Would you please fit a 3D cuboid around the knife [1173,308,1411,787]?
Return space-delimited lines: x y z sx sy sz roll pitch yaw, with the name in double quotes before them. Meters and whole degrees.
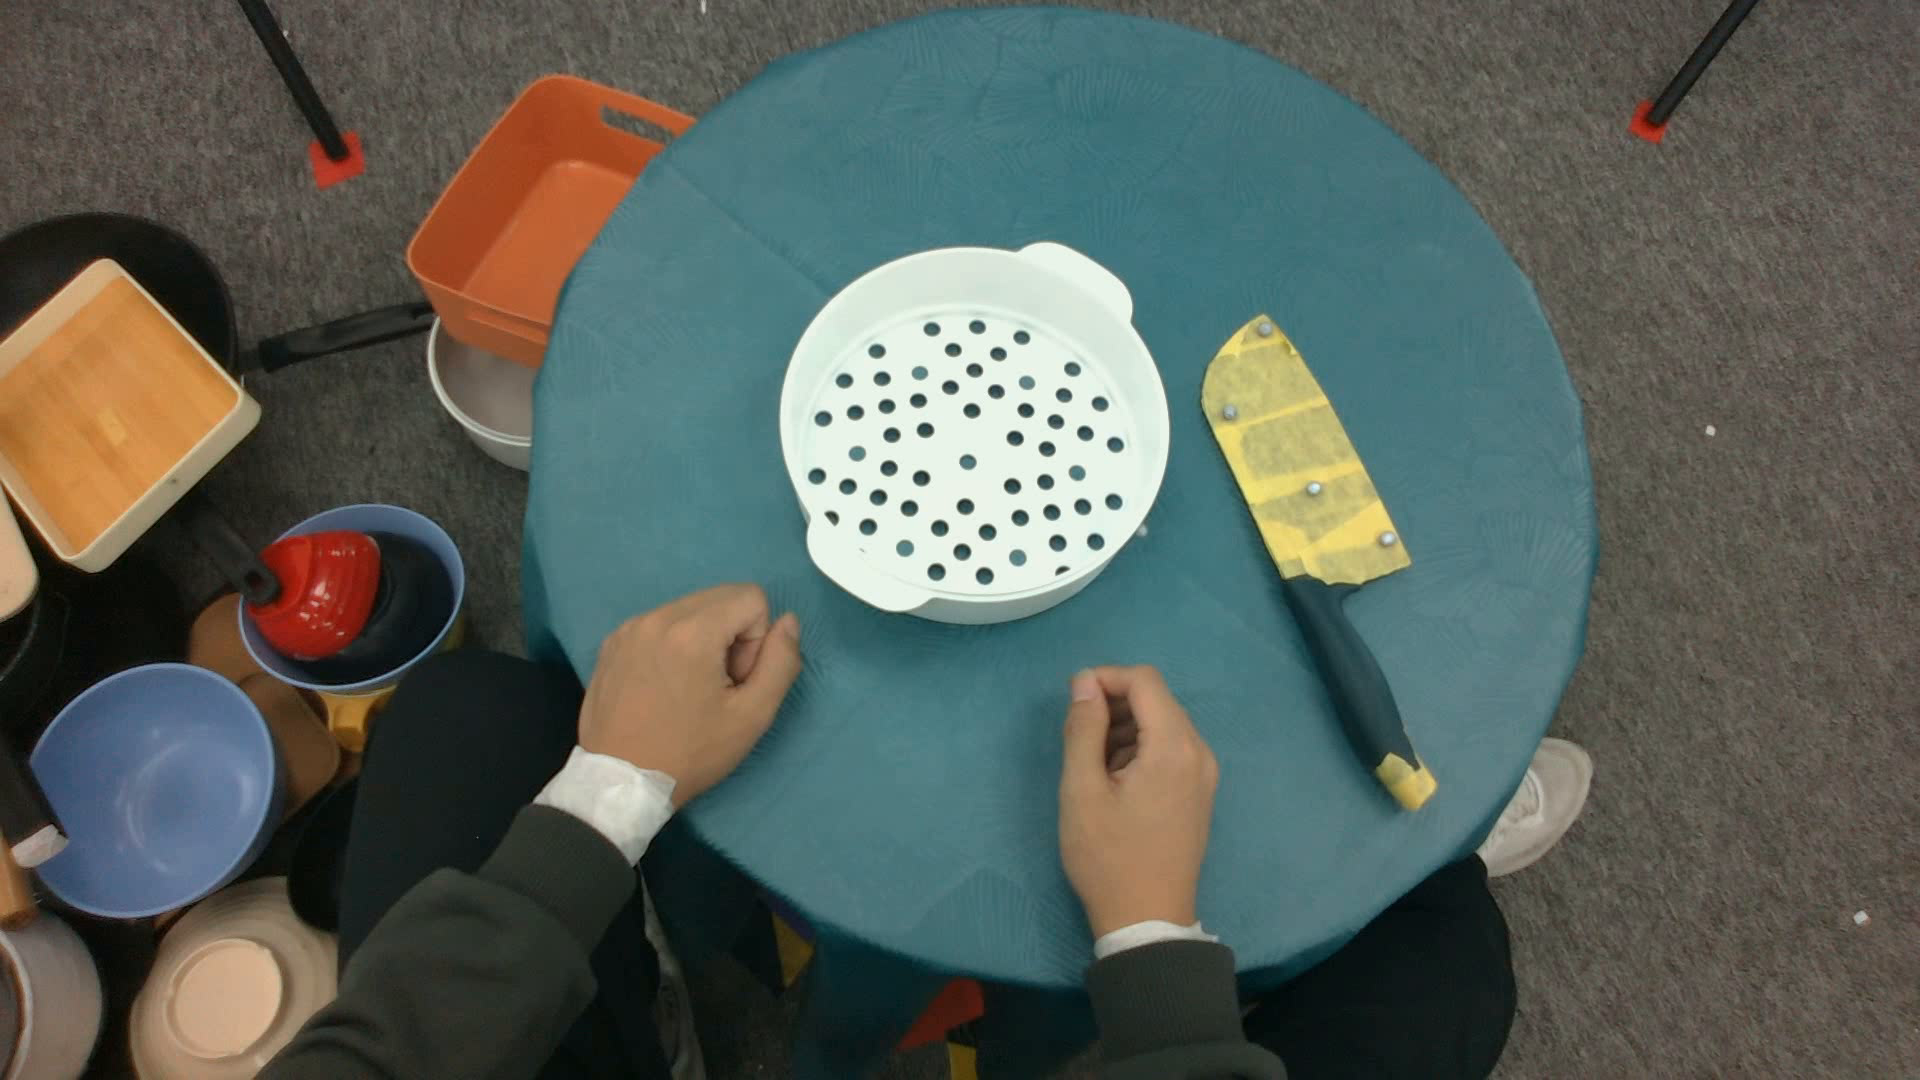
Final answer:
"knife" 0.191 -0.006 0.760 0.081 0.027 0.290 -15 71 -10

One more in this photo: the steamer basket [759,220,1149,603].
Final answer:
"steamer basket" -0.004 -0.065 0.735 0.202 0.069 0.231 33 71 7
